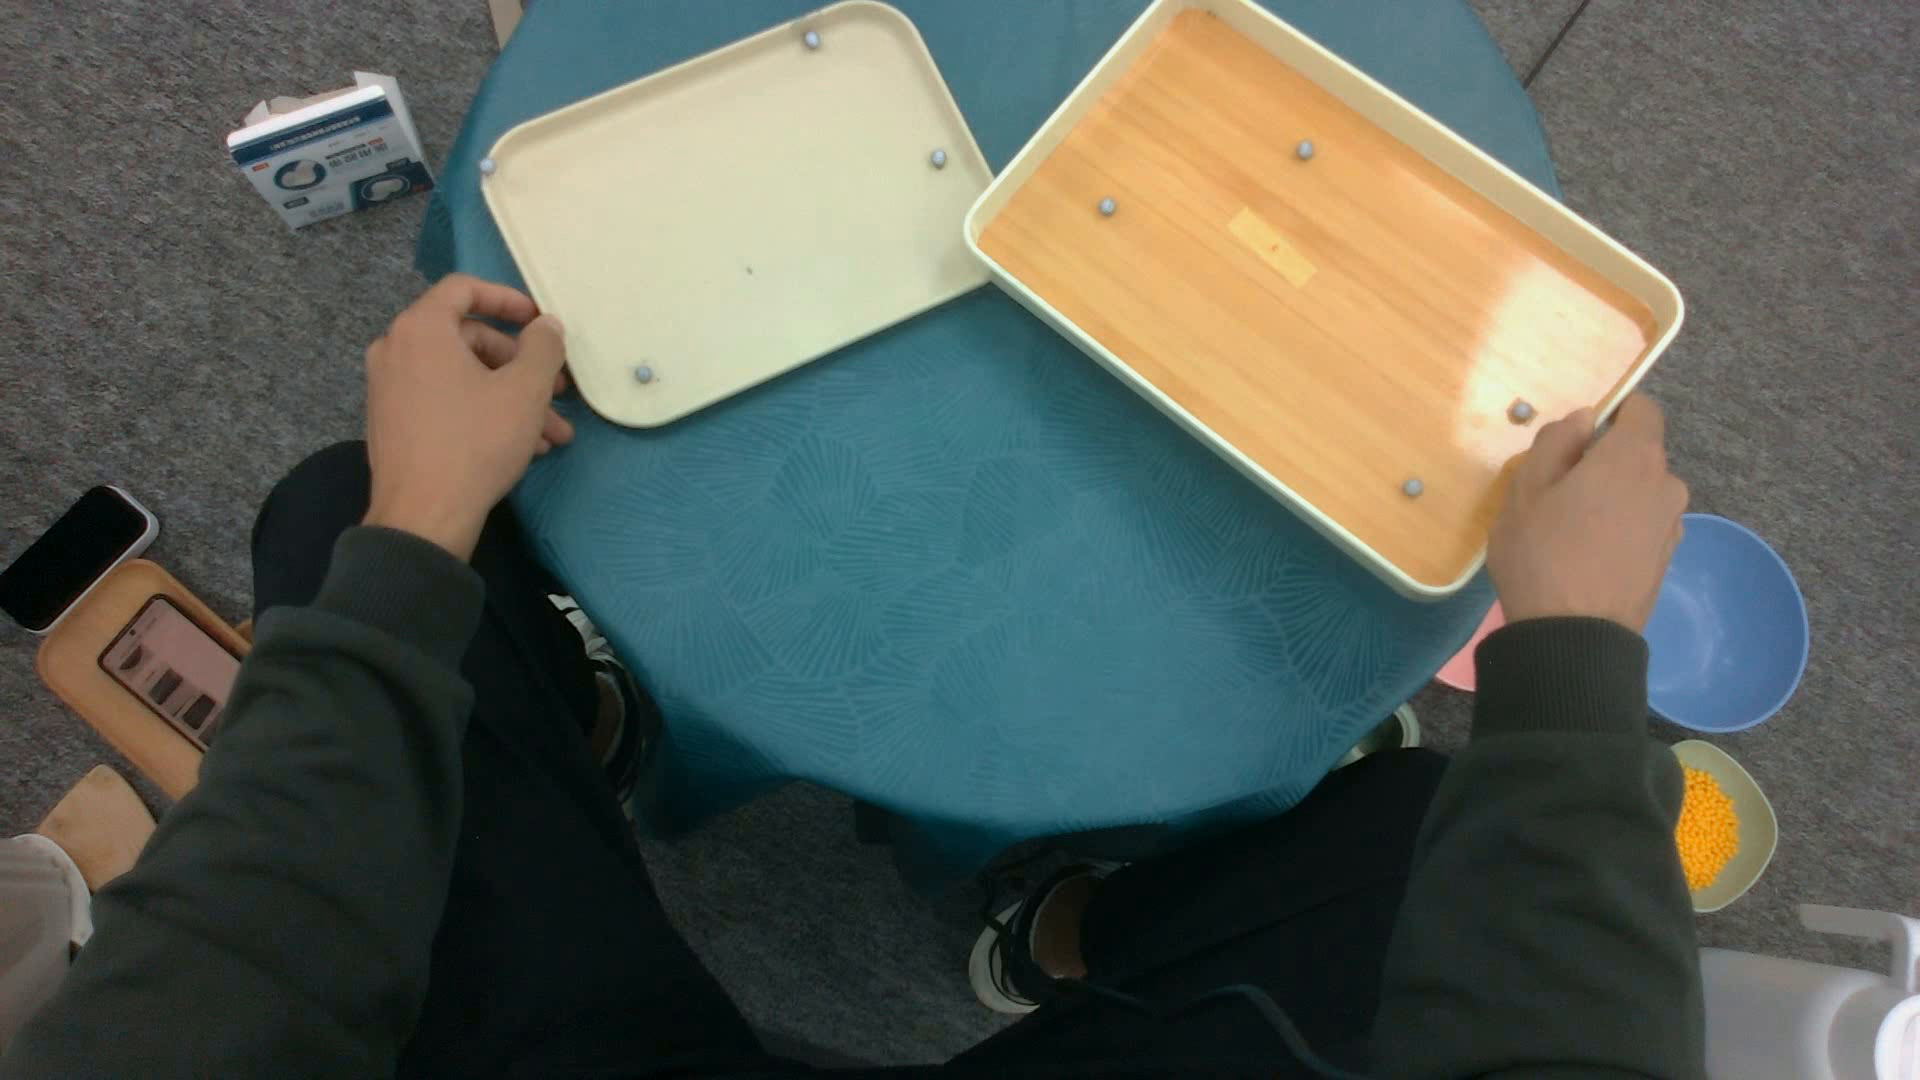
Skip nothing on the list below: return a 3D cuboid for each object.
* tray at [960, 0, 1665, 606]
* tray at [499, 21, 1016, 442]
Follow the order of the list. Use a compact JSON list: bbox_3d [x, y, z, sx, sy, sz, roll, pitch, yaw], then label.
[{"bbox_3d":[0.167,-0.126,0.685,0.300,0.027,0.192,39,84,15],"label":"tray"},{"bbox_3d":[-0.104,-0.164,0.723,0.240,0.017,0.171,-26,83,-11],"label":"tray"}]
